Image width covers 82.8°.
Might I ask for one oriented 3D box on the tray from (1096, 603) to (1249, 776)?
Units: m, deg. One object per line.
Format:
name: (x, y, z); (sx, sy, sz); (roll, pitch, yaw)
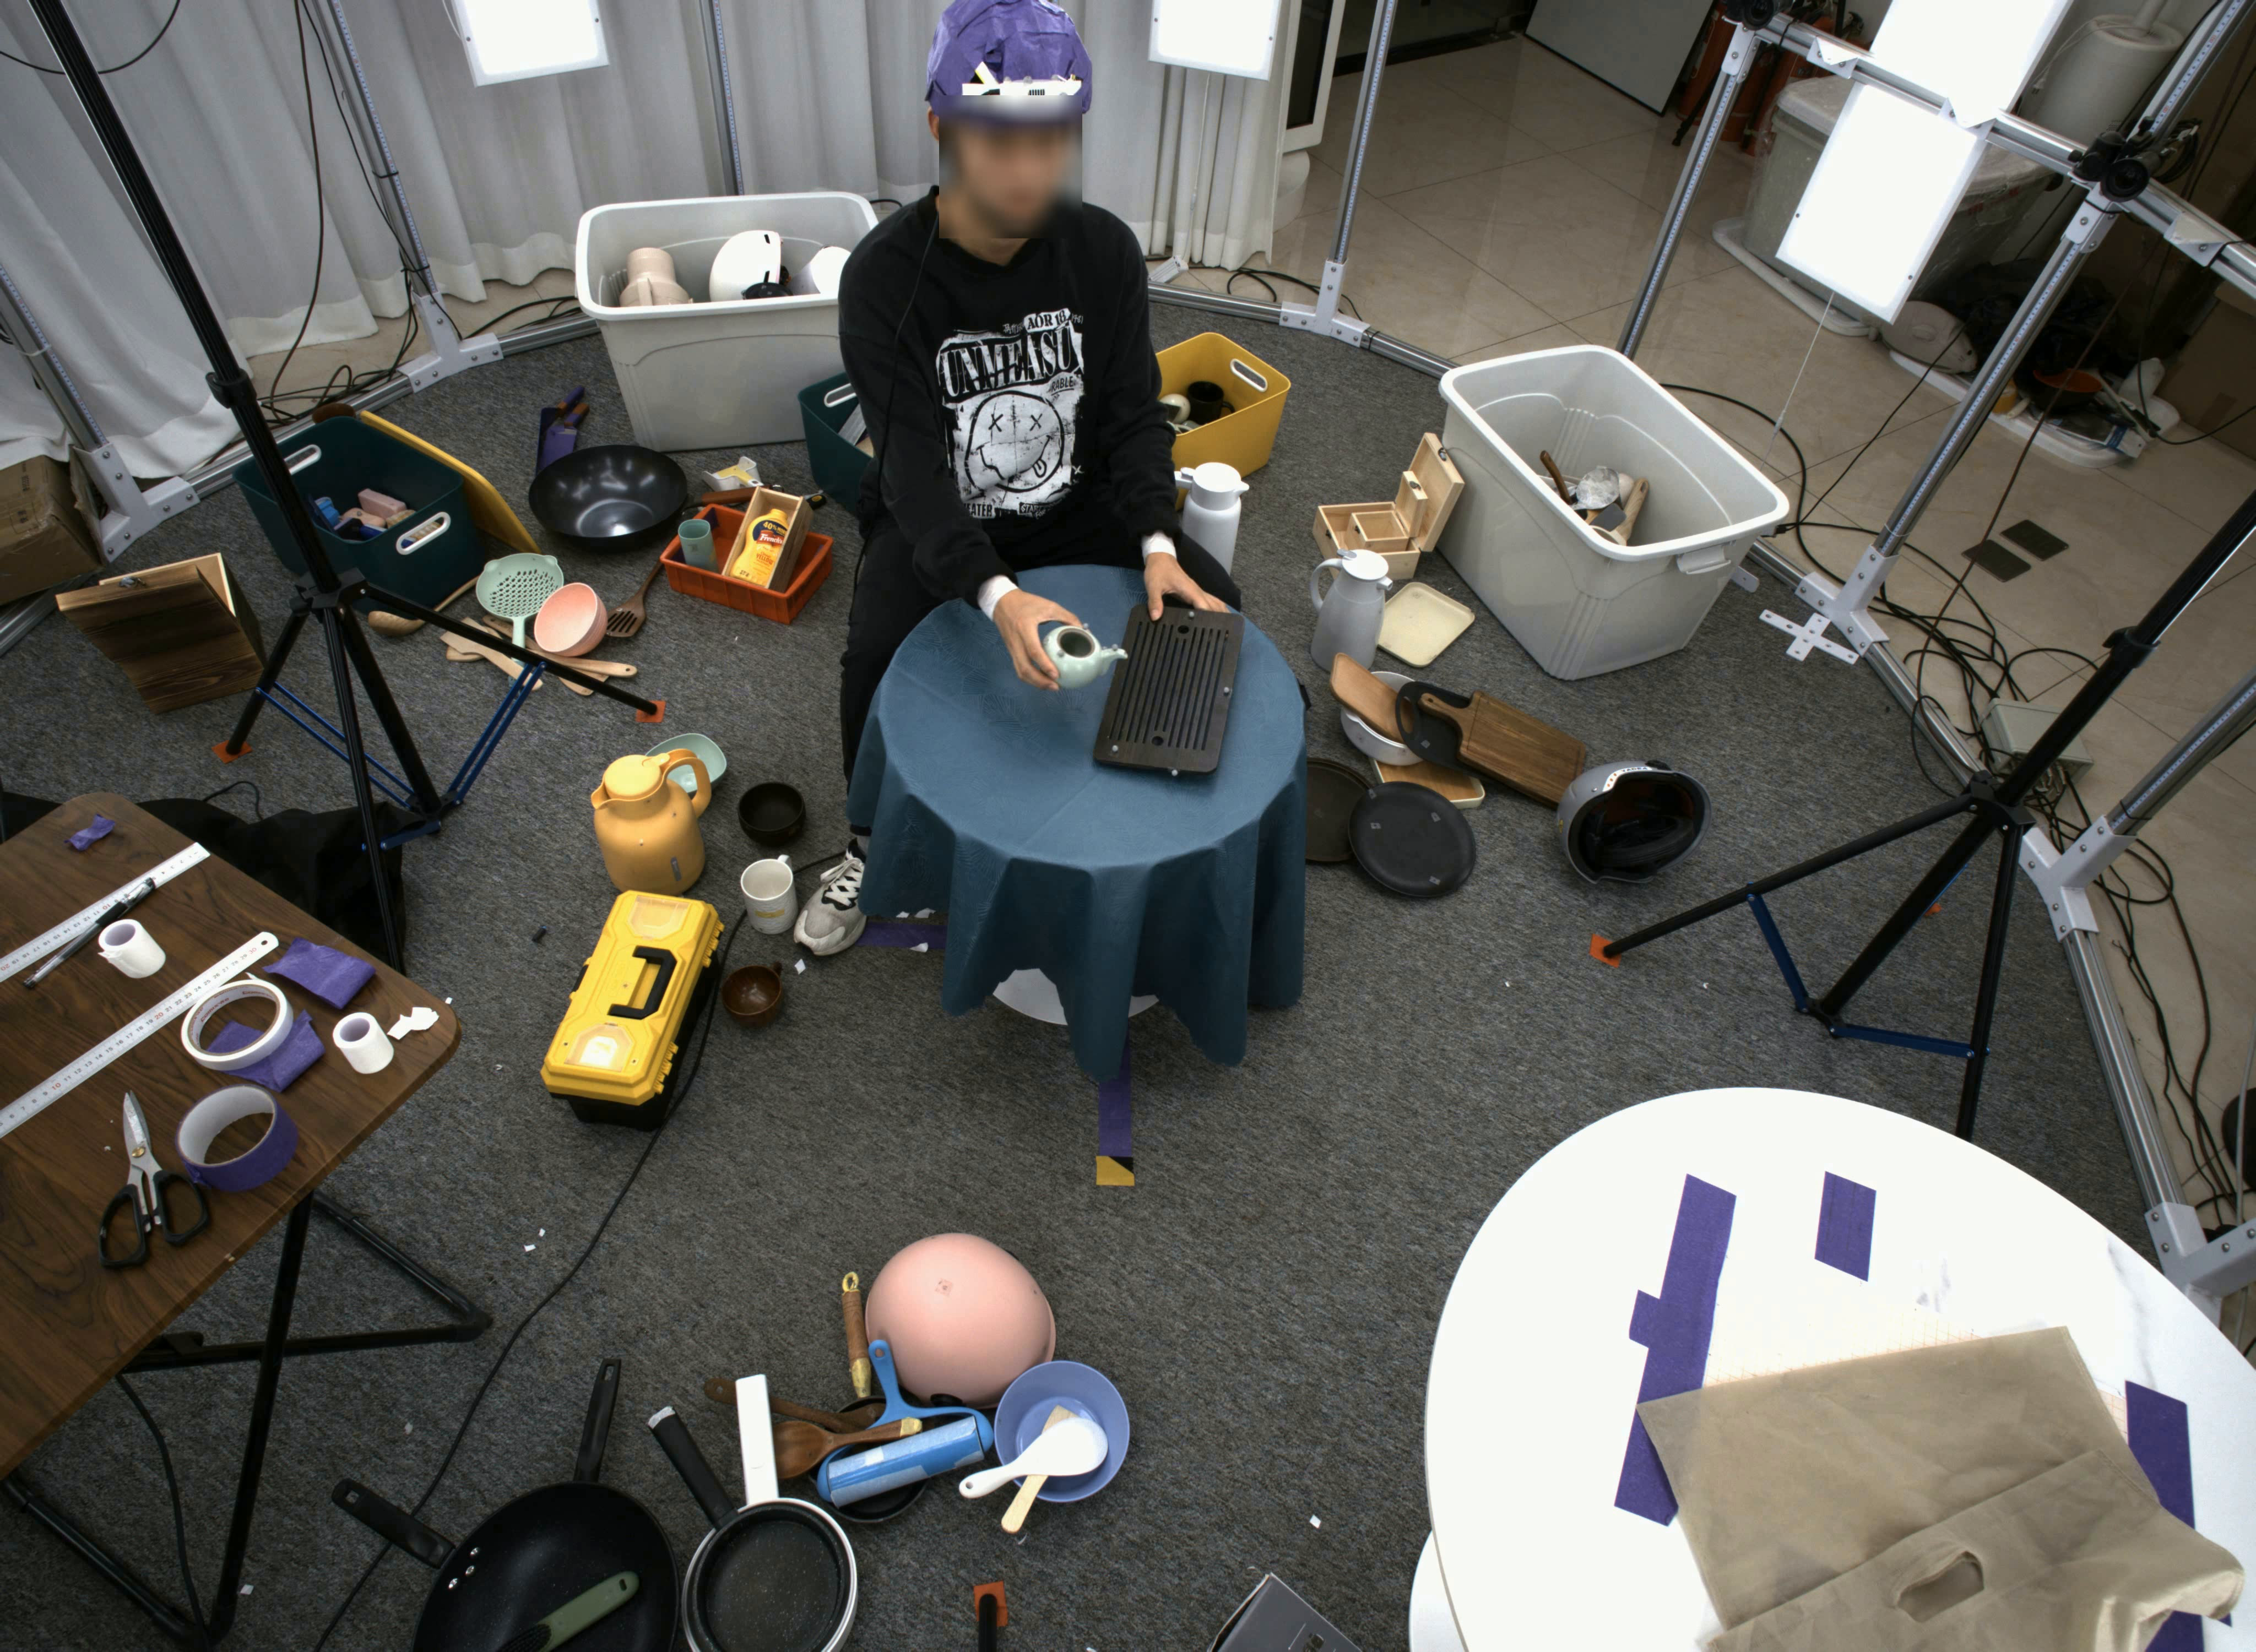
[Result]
tray: (0.067, -0.197, 1.812); (0.170, 0.018, 0.313); (7, 53, 9)

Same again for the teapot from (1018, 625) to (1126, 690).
teapot: (-0.080, -0.227, 1.726); (0.143, 0.073, 0.090); (15, 51, -10)
